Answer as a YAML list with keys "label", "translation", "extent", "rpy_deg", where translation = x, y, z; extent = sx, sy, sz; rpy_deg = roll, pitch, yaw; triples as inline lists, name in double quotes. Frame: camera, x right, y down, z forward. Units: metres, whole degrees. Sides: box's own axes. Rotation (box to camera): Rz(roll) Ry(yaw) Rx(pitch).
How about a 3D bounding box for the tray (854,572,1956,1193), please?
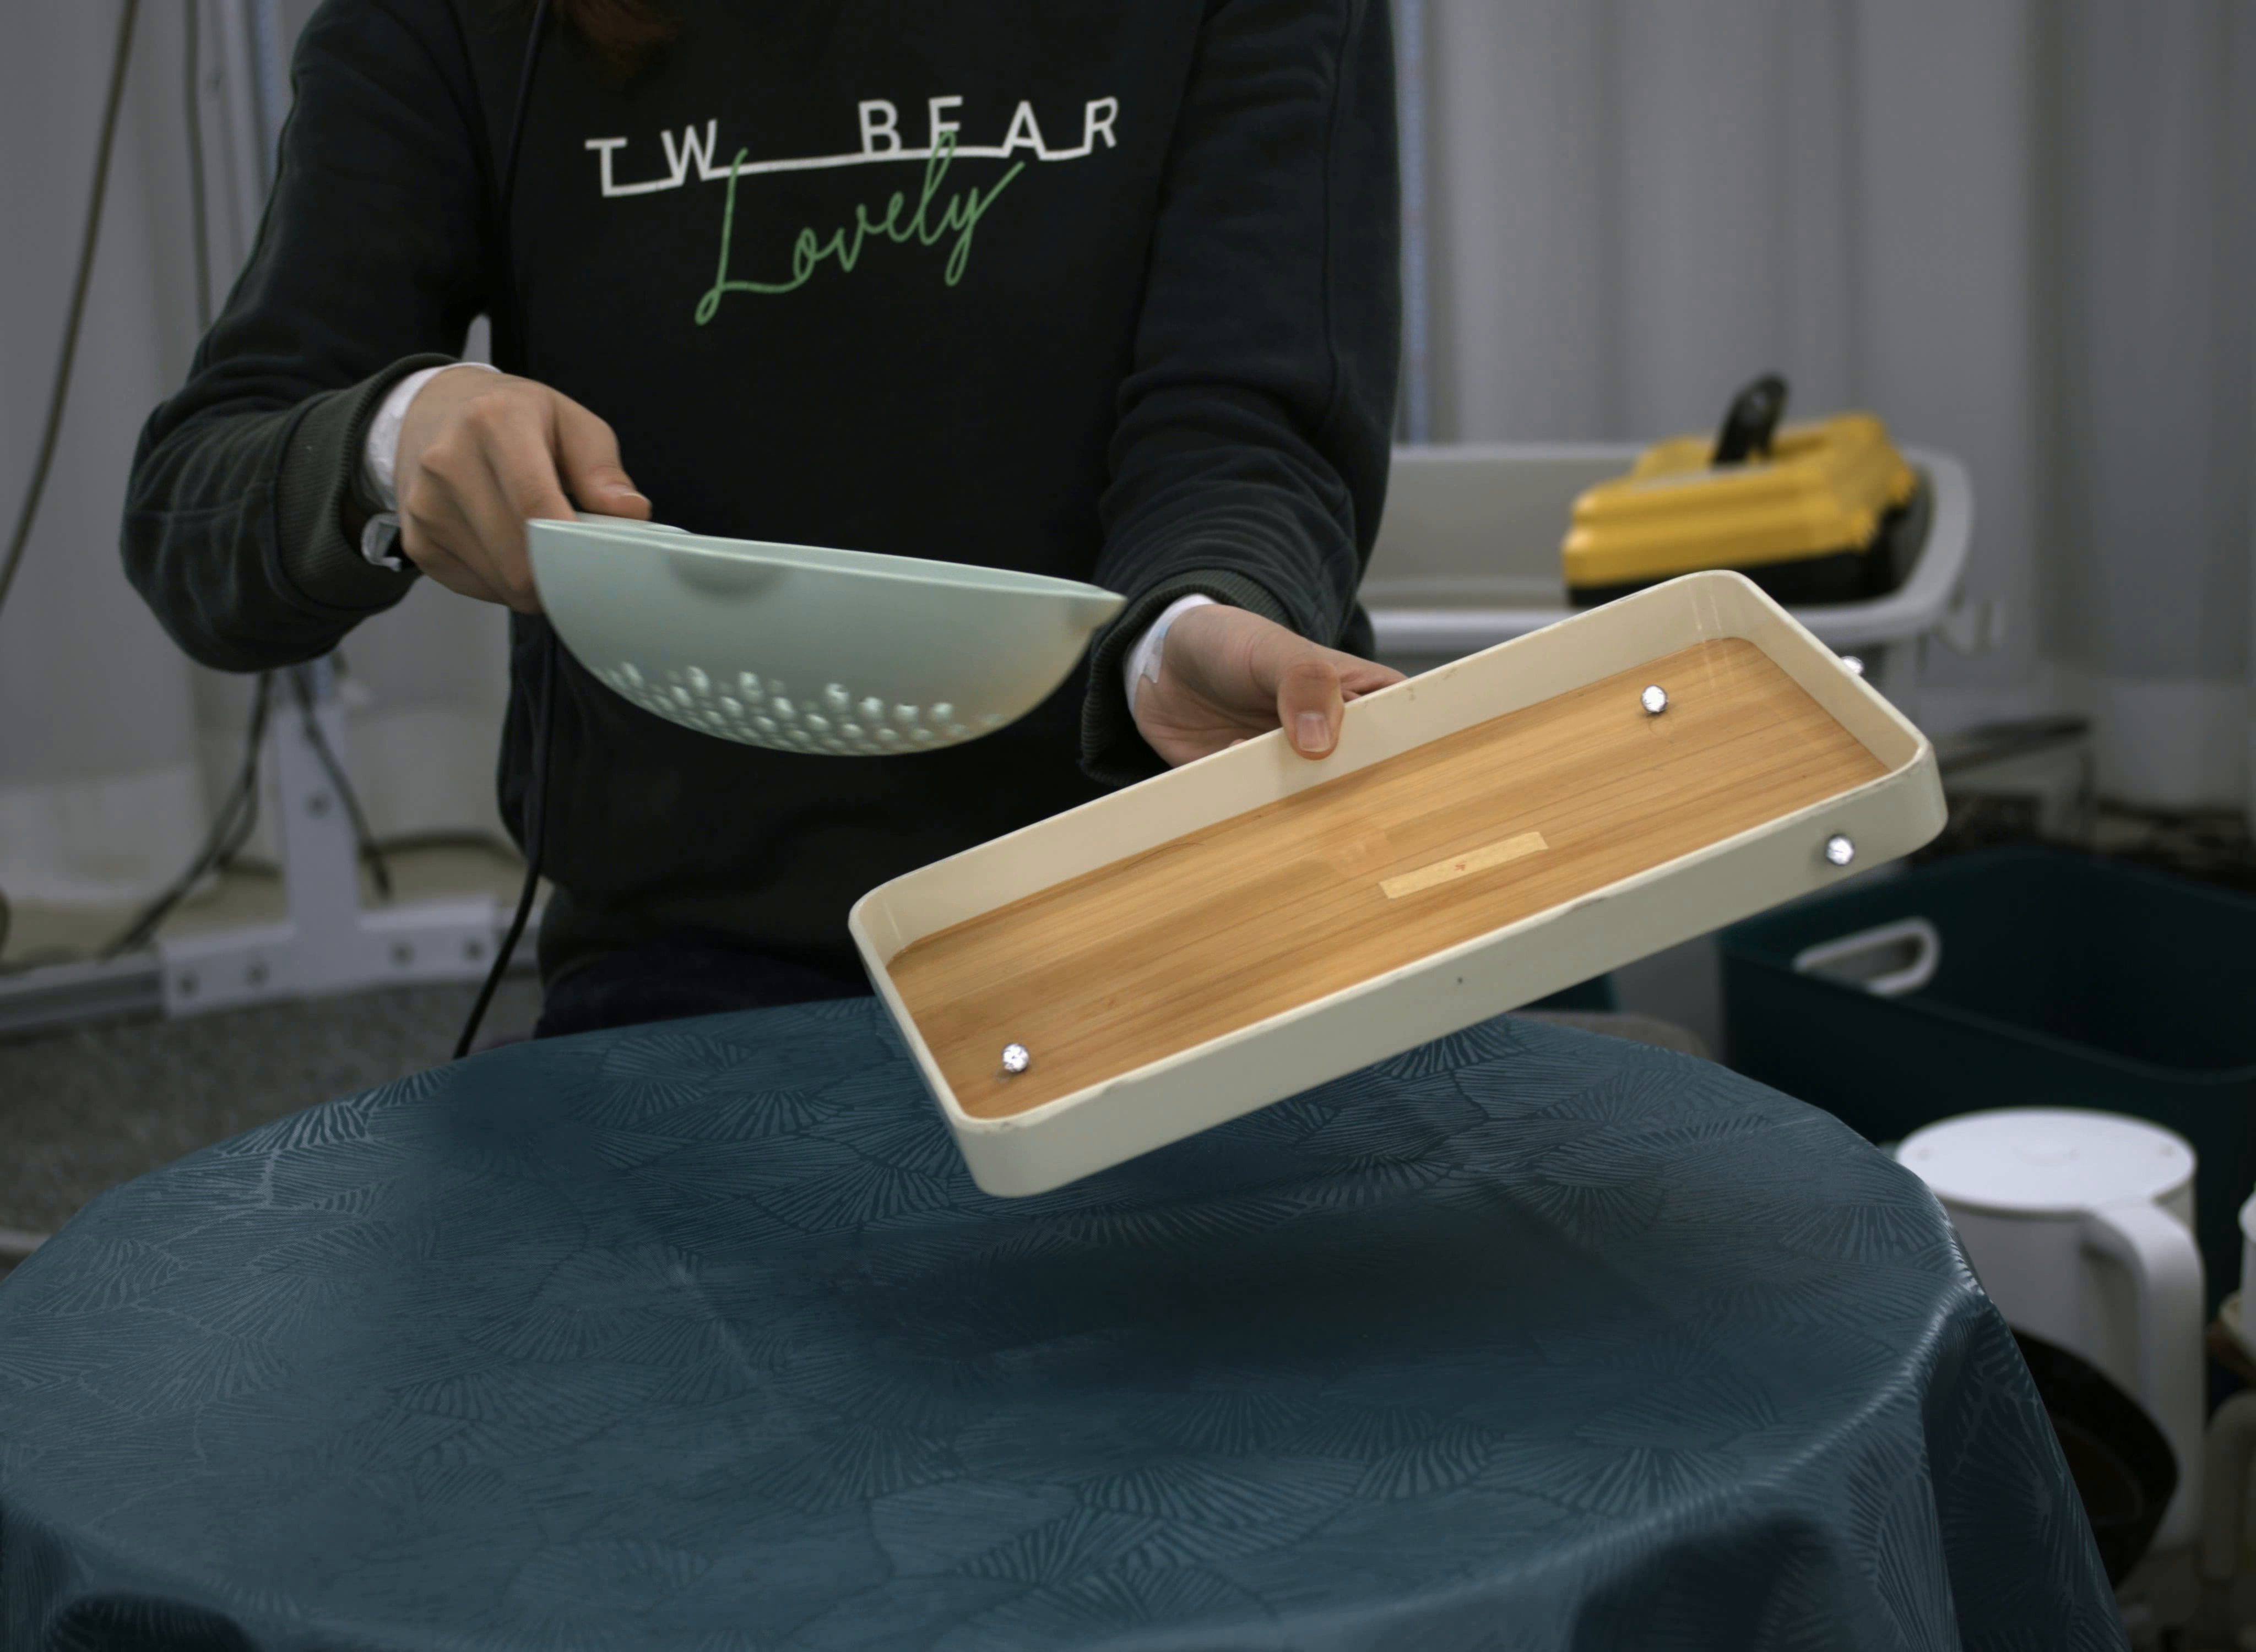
- label: "tray"
  translation: [0.077, 0.012, 1.614]
  extent: [0.299, 0.027, 0.193]
  rpy_deg: [-20, 23, -6]

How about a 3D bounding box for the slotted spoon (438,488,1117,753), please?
- label: "slotted spoon"
  translation: [-0.140, -0.079, 1.673]
  extent: [0.168, 0.075, 0.362]
  rpy_deg: [6, 12, -28]
